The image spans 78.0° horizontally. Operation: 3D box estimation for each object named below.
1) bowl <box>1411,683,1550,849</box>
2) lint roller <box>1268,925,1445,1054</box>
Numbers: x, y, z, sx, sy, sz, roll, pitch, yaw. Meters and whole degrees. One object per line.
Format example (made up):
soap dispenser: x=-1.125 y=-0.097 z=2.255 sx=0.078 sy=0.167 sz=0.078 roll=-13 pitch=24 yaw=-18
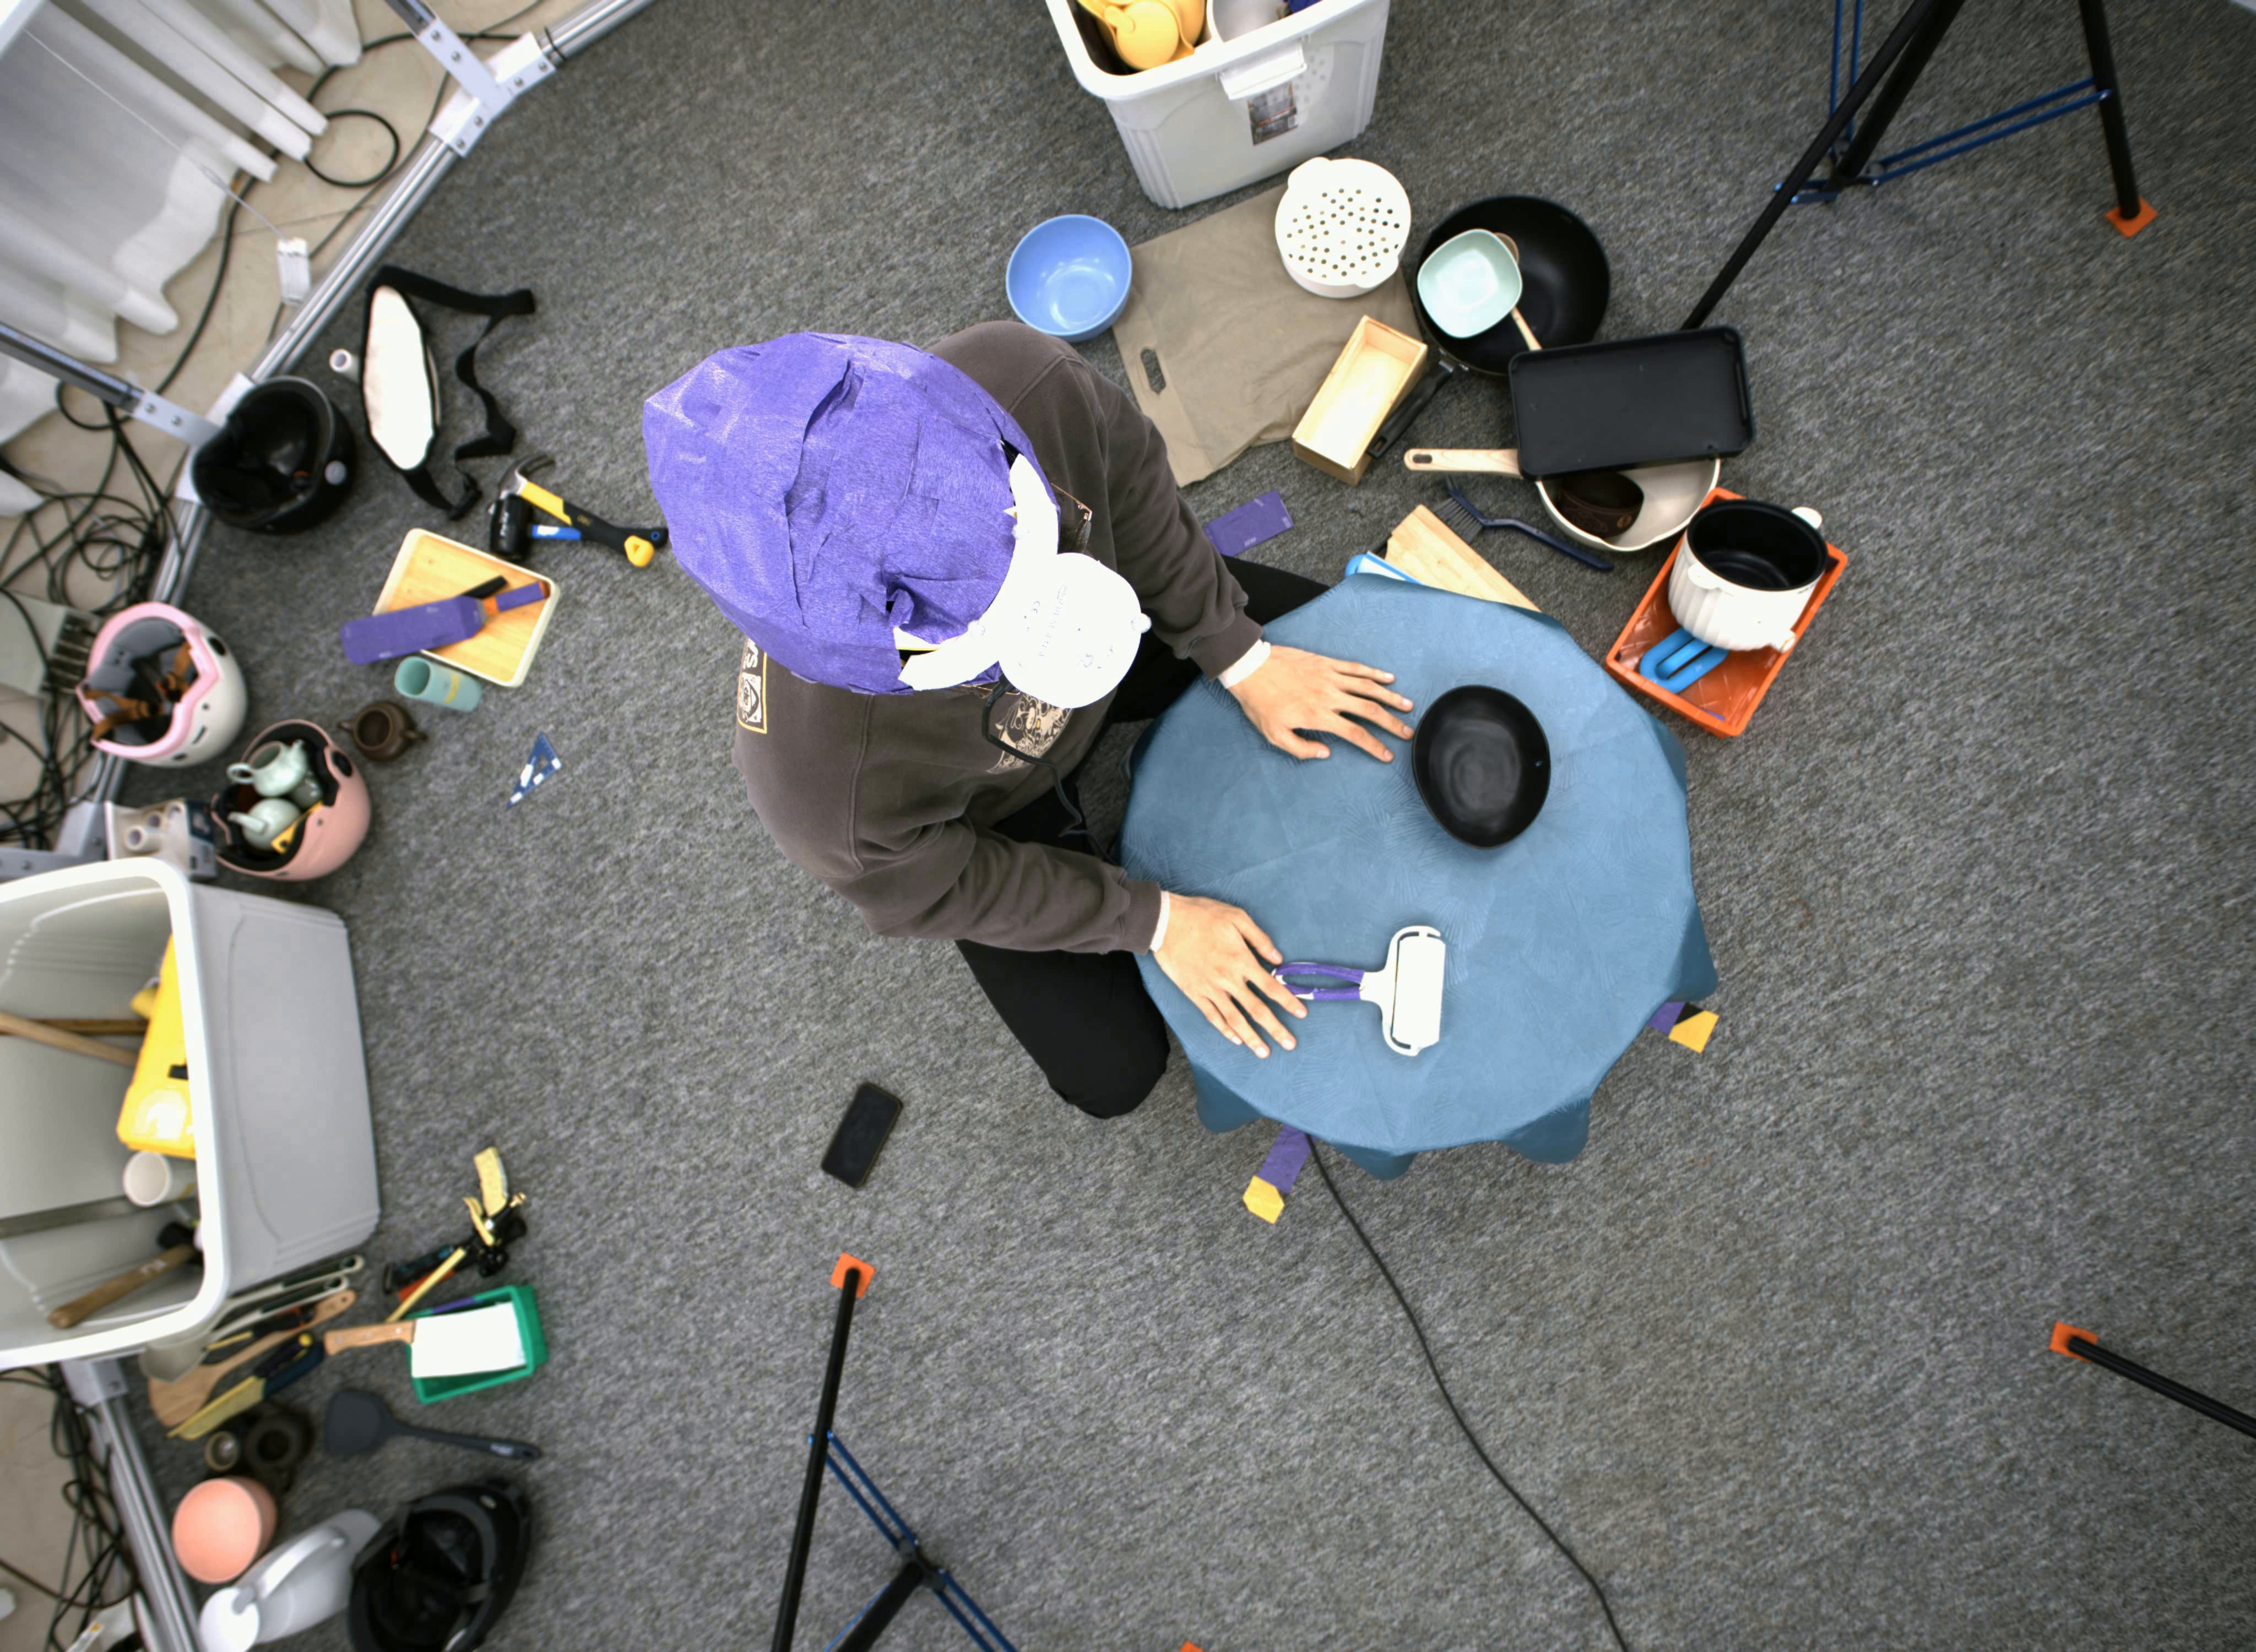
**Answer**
bowl: x=0.362 y=-0.063 z=1.415 sx=0.138 sy=0.066 sz=0.169 roll=-11 pitch=87 yaw=11
lint roller: x=0.235 y=0.161 z=1.435 sx=0.181 sy=0.050 sz=0.132 roll=6 pitch=88 yaw=8
